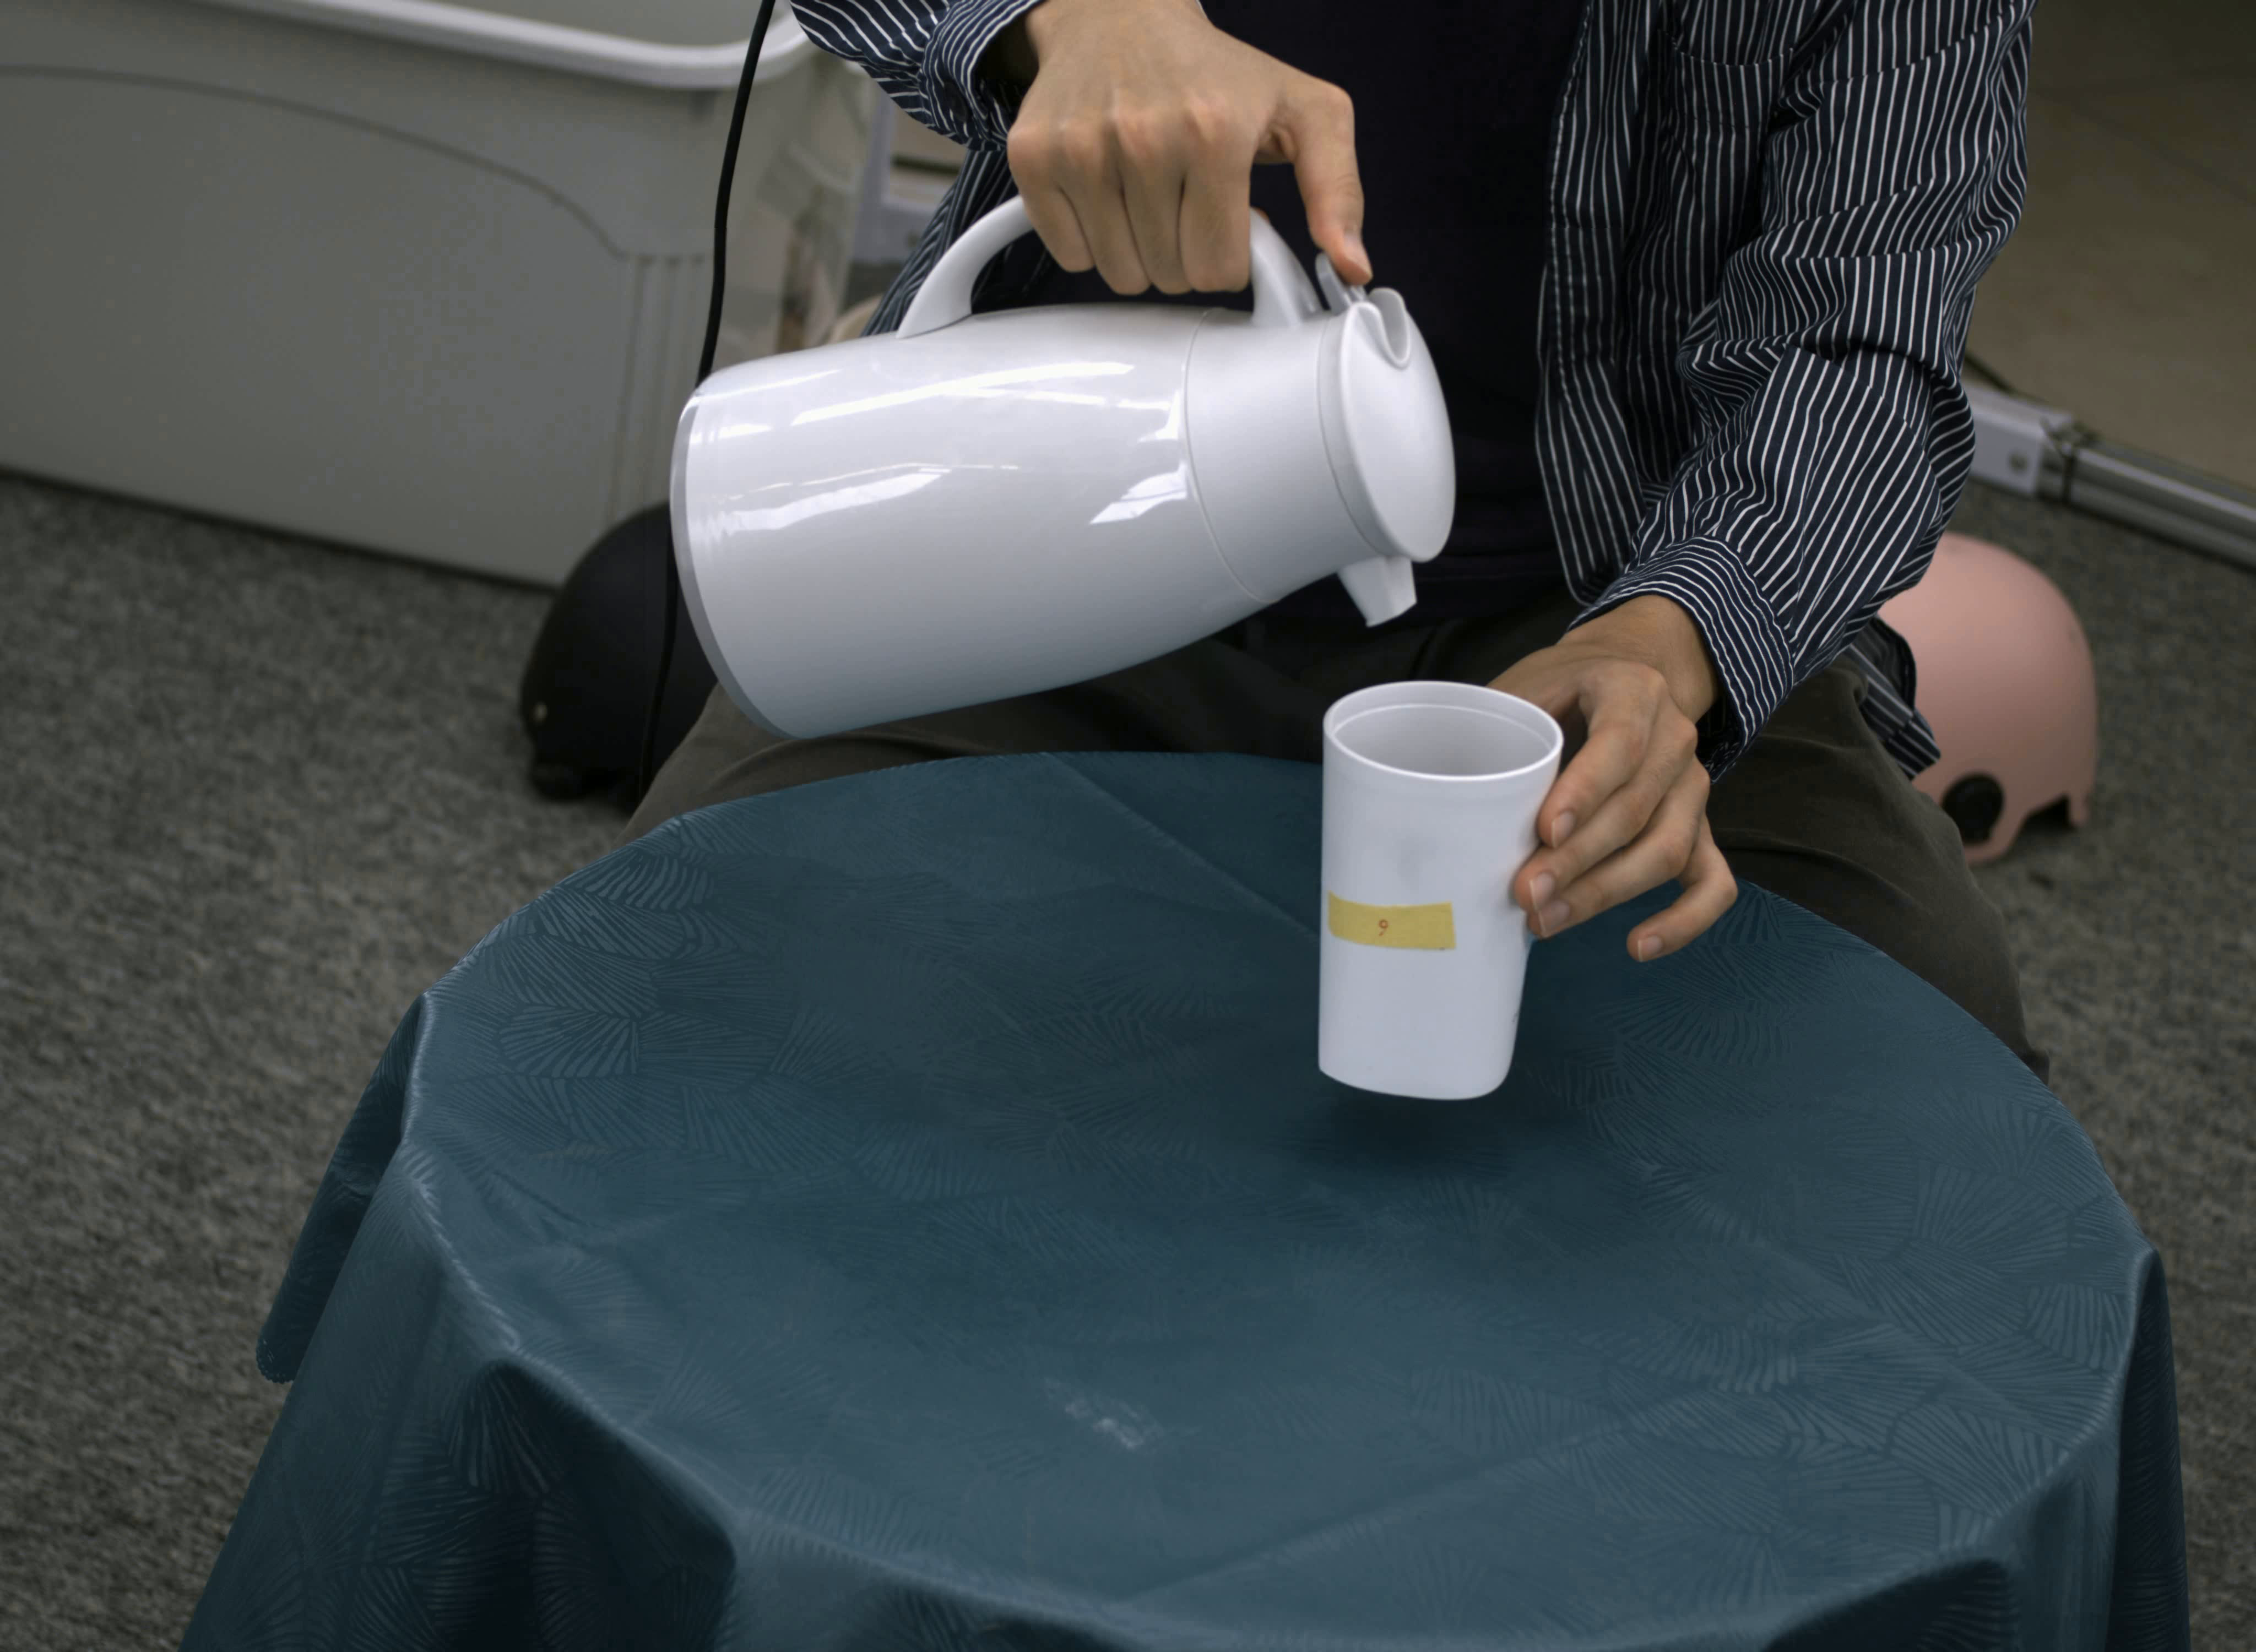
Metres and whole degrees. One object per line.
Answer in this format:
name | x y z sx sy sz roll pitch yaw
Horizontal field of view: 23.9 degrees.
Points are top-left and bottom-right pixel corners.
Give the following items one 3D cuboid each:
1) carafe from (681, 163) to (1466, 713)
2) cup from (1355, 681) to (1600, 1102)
carafe | -0.017 -0.134 1.786 0.249 0.167 0.132 -7 18 25
cup | 0.115 0.024 1.810 0.081 0.125 0.082 2 24 -1
